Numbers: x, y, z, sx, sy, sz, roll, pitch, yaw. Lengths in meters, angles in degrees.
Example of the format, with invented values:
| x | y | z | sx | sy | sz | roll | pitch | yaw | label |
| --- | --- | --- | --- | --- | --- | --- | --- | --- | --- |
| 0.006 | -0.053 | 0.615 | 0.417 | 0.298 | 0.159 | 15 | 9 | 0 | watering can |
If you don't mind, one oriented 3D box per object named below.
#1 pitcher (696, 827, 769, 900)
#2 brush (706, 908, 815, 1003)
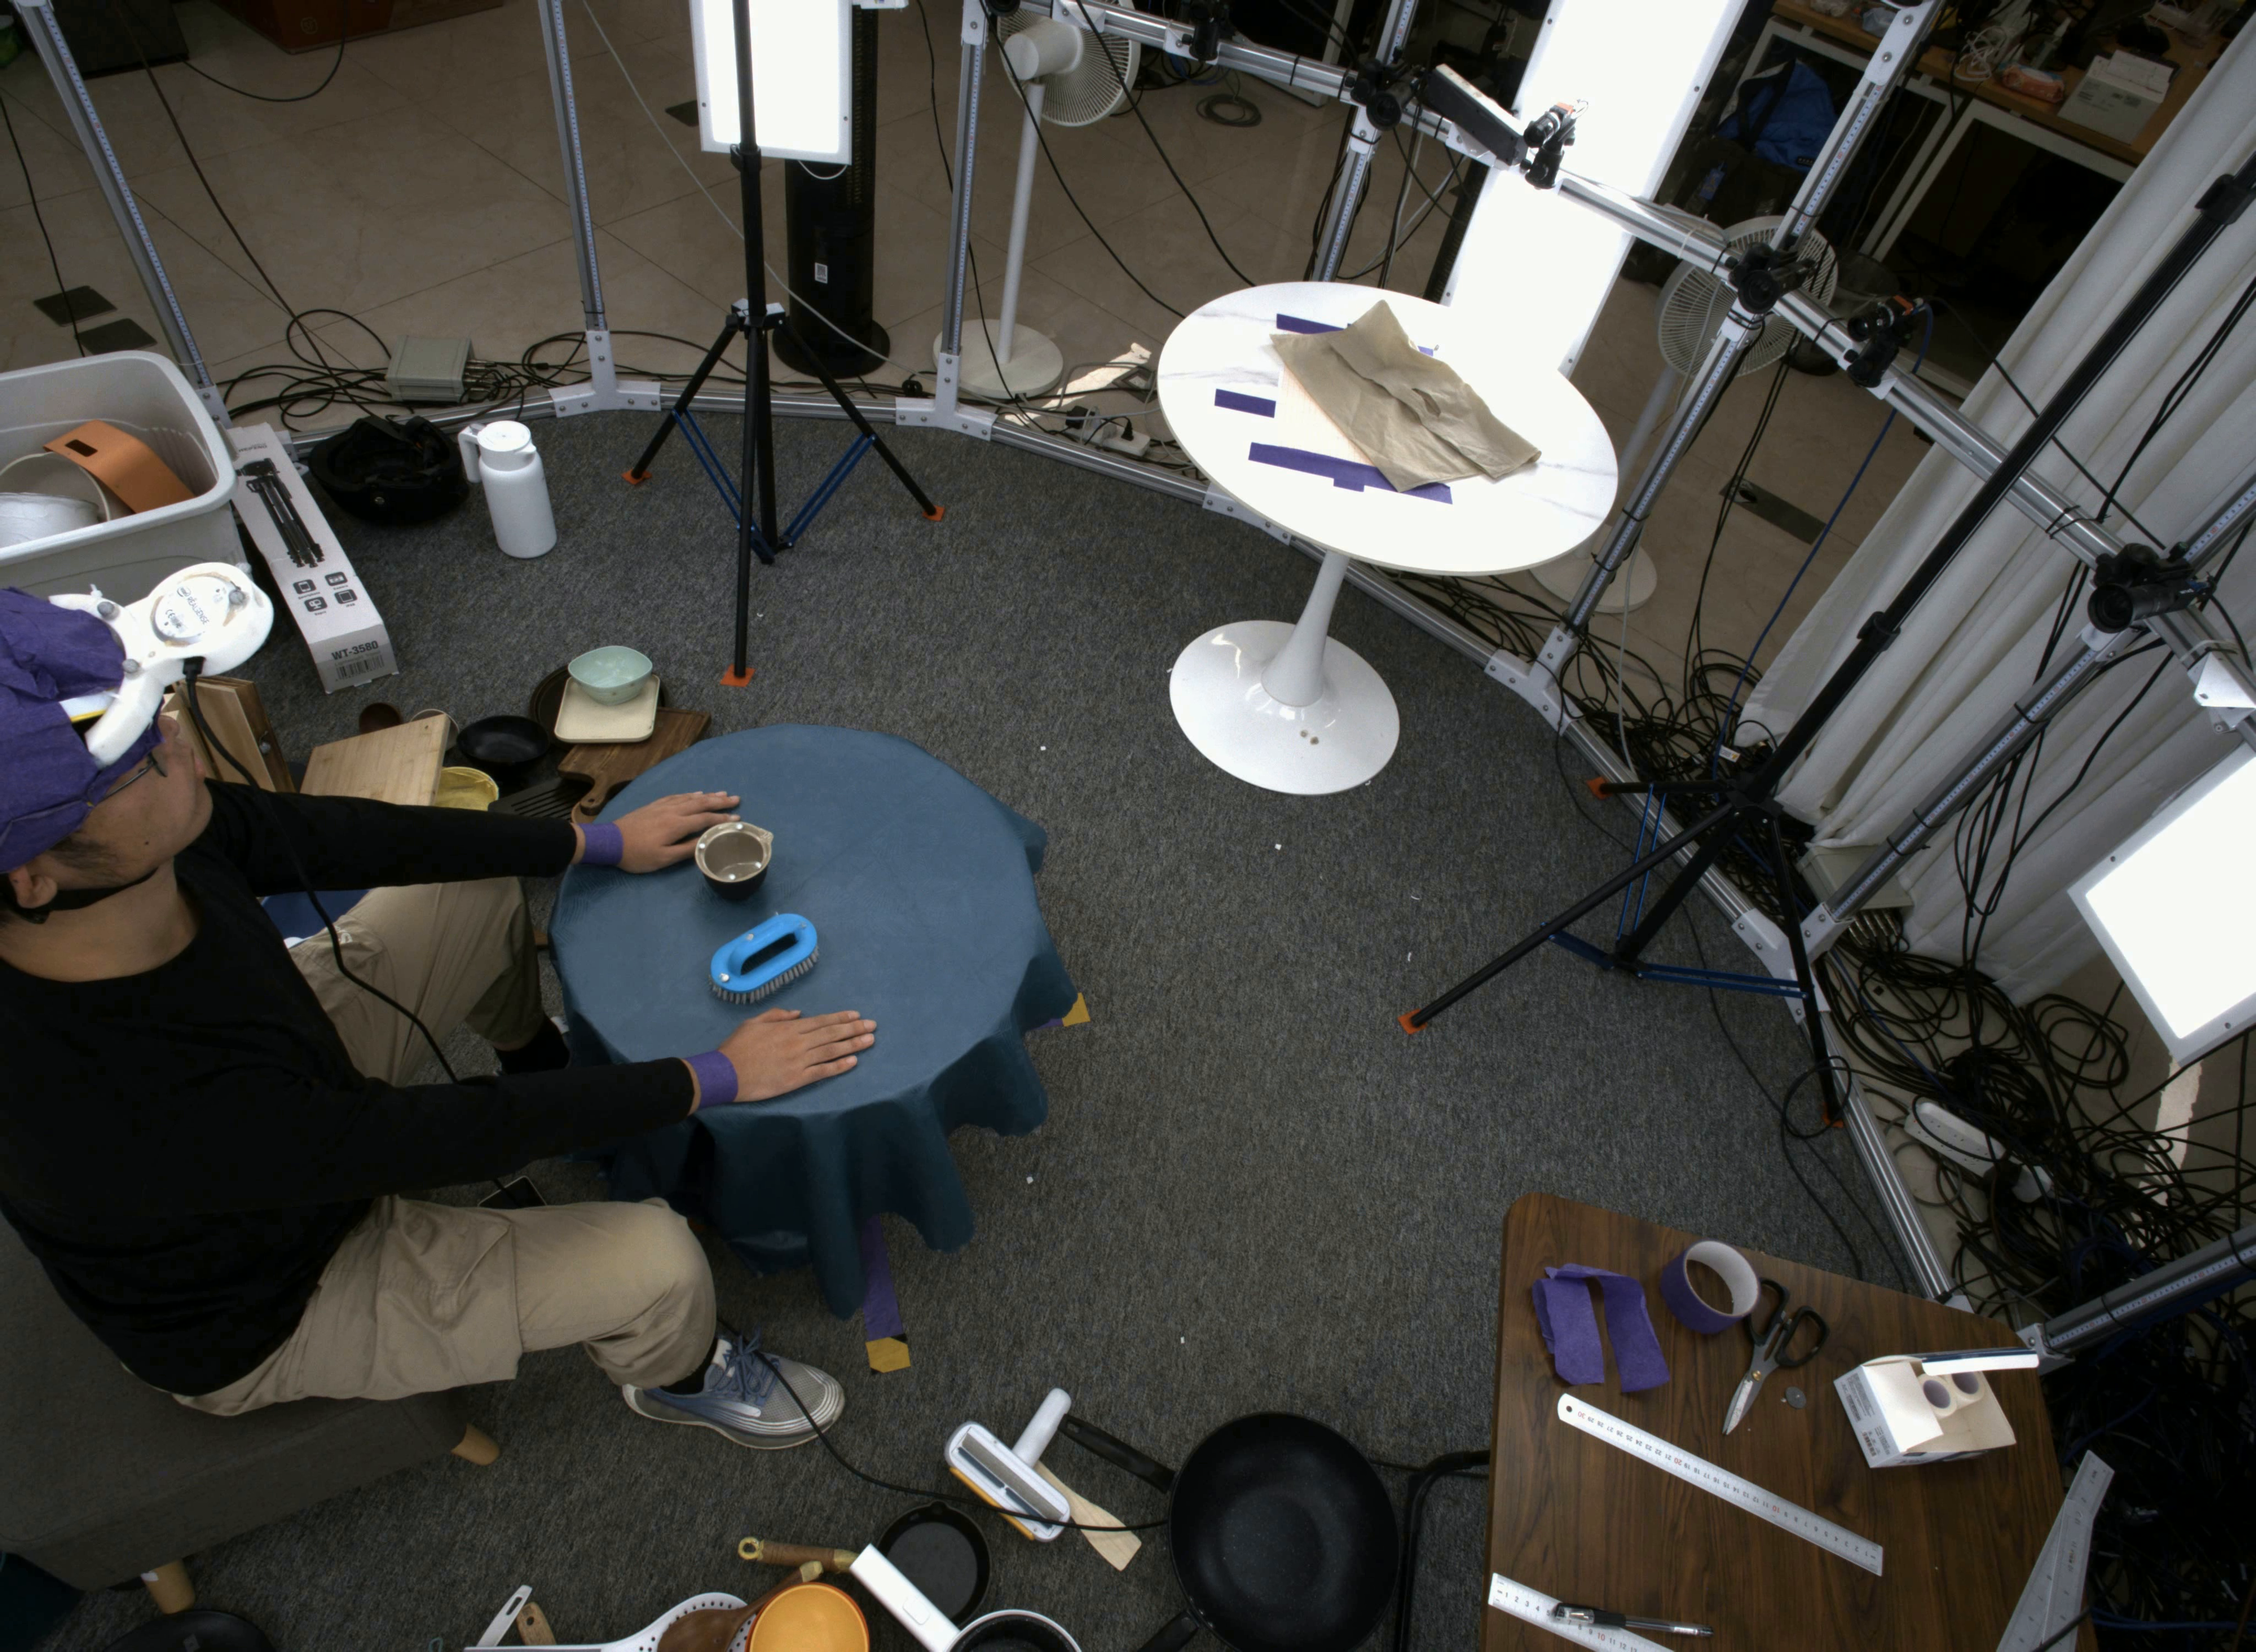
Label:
| x | y | z | sx | sy | sz | roll | pitch | yaw | label |
| --- | --- | --- | --- | --- | --- | --- | --- | --- | --- |
| -0.495 | 0.048 | 1.626 | 0.096 | 0.073 | 0.081 | -23 | 60 | -29 | pitcher |
| -0.443 | 0.149 | 1.570 | 0.142 | 0.065 | 0.083 | -32 | 70 | -30 | brush |
